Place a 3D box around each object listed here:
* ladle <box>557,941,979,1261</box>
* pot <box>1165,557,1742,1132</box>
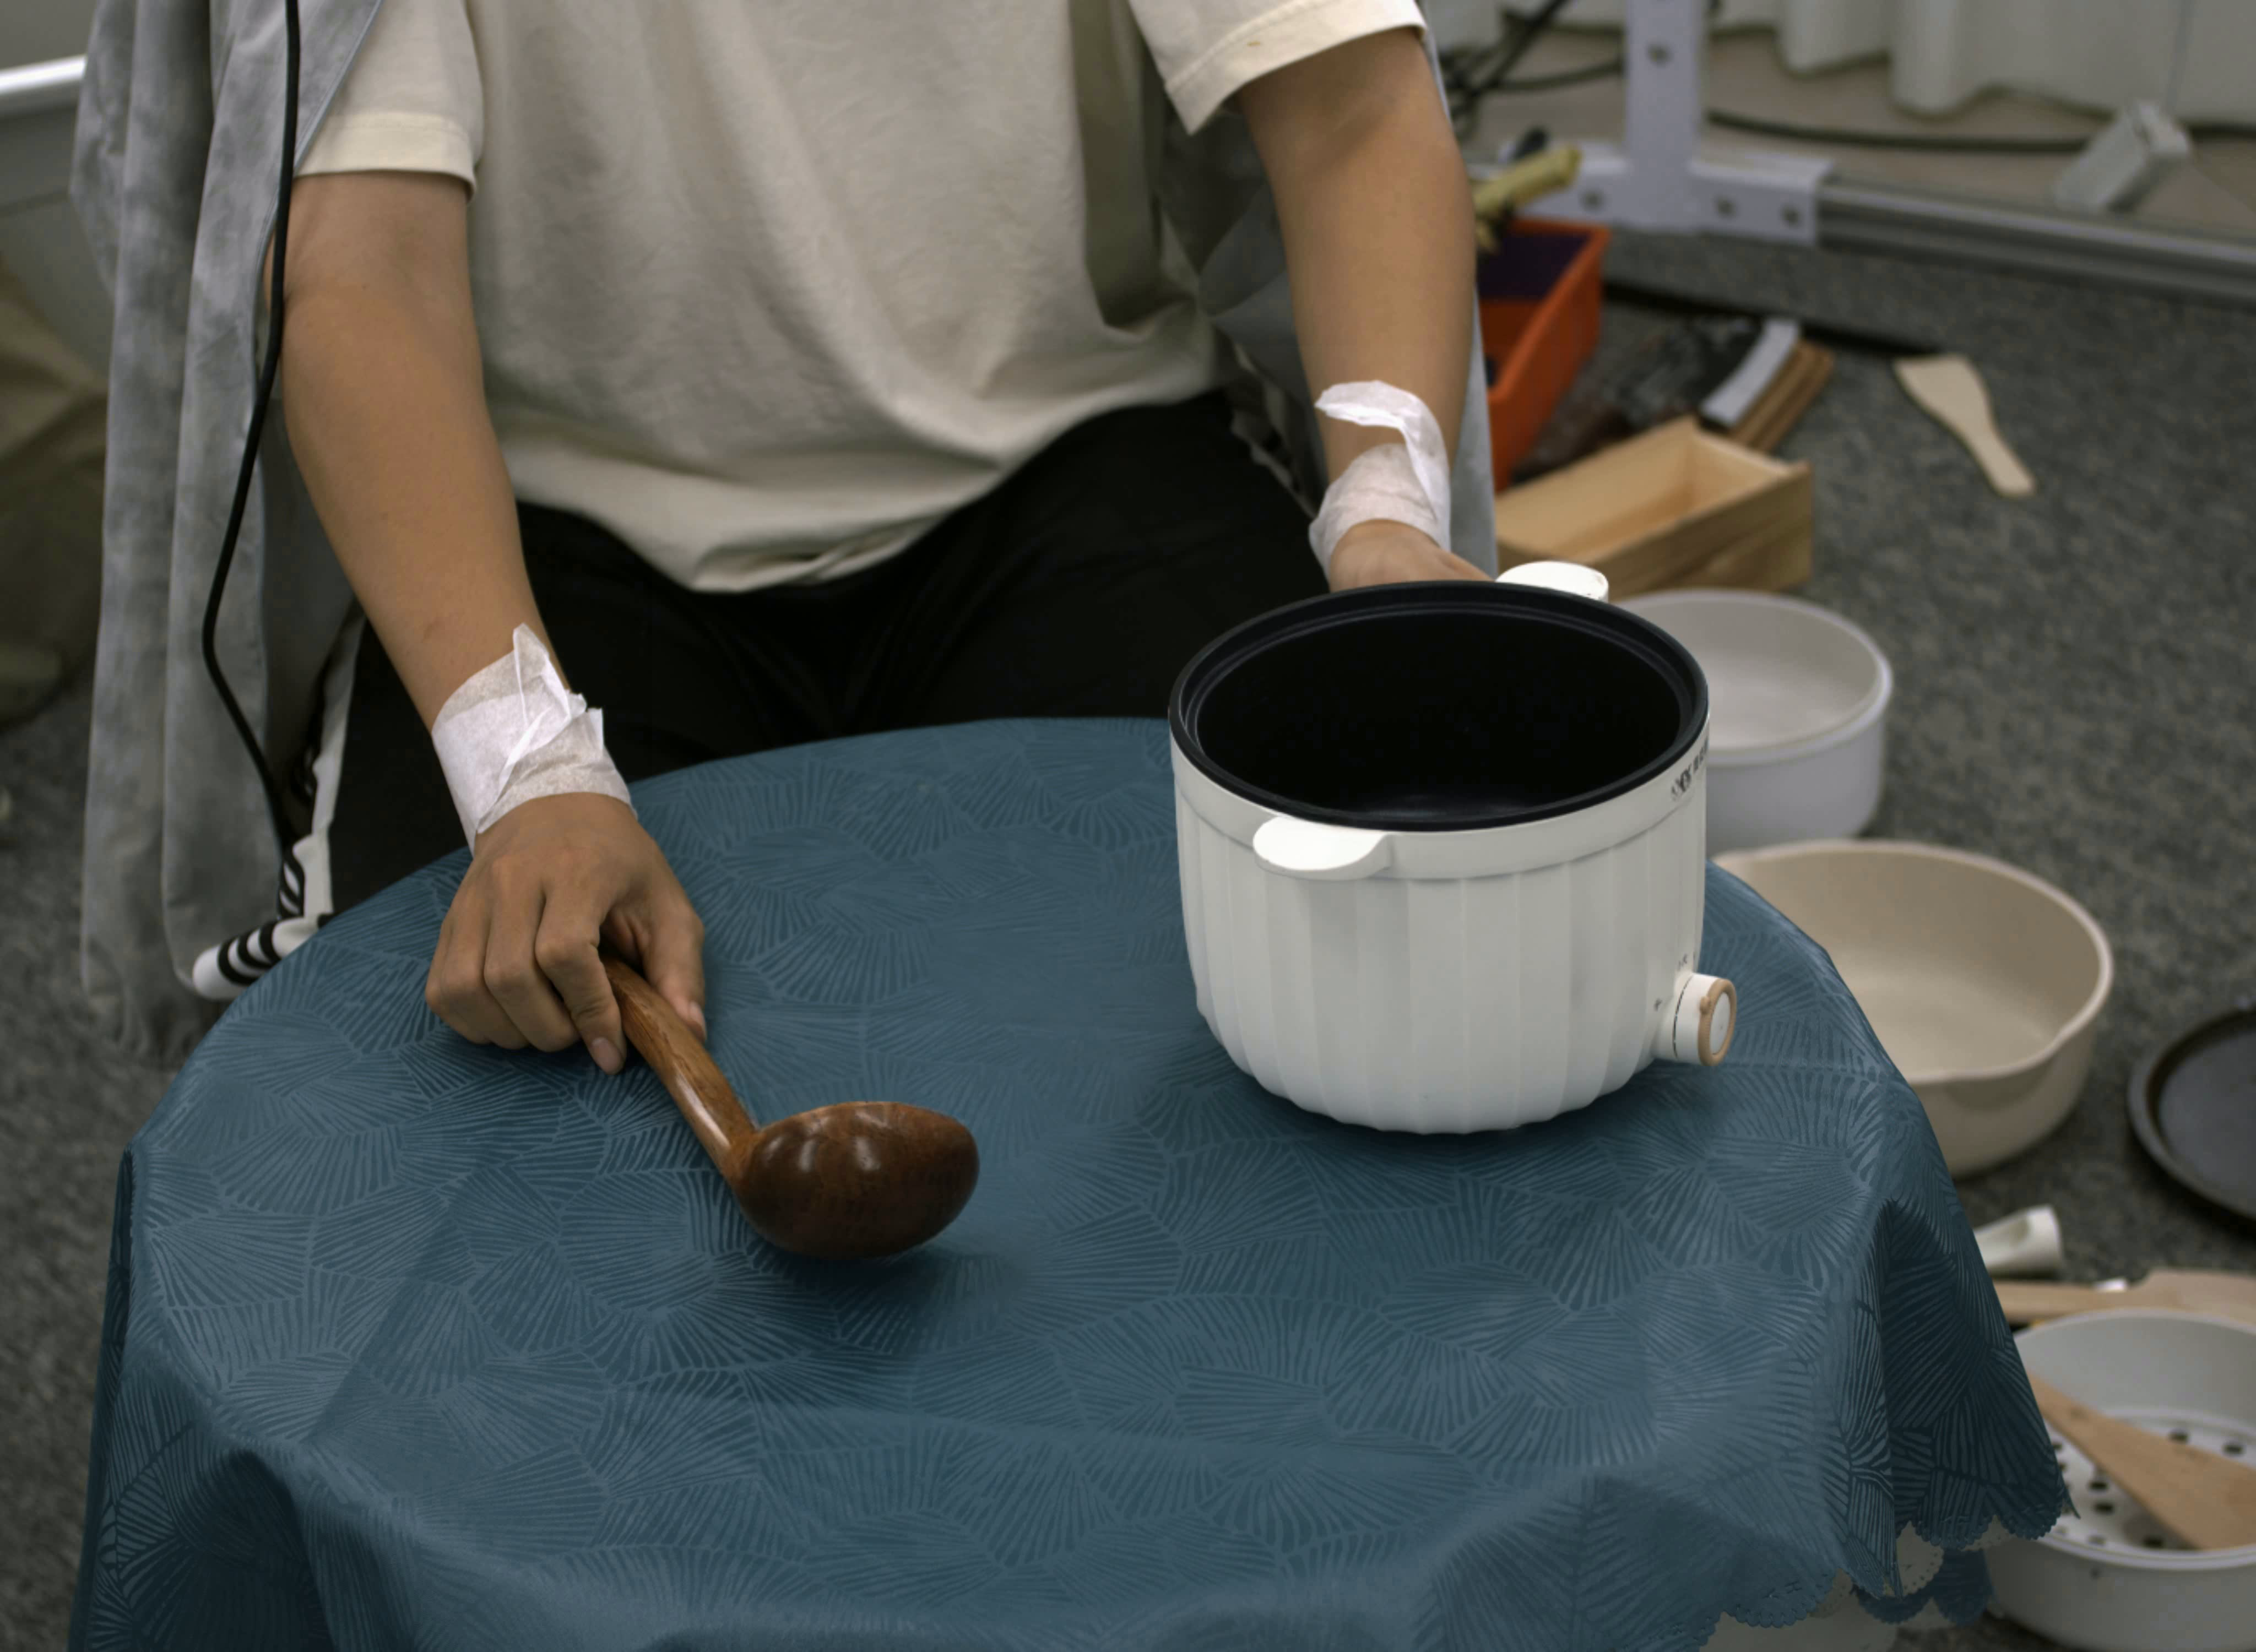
[{"bbox_3d":[-0.132,0.071,1.890,0.082,0.076,0.276,19,14,-31],"label":"ladle"},{"bbox_3d":[0.112,0.014,1.906,0.189,0.141,0.244,6,29,25],"label":"pot"}]
